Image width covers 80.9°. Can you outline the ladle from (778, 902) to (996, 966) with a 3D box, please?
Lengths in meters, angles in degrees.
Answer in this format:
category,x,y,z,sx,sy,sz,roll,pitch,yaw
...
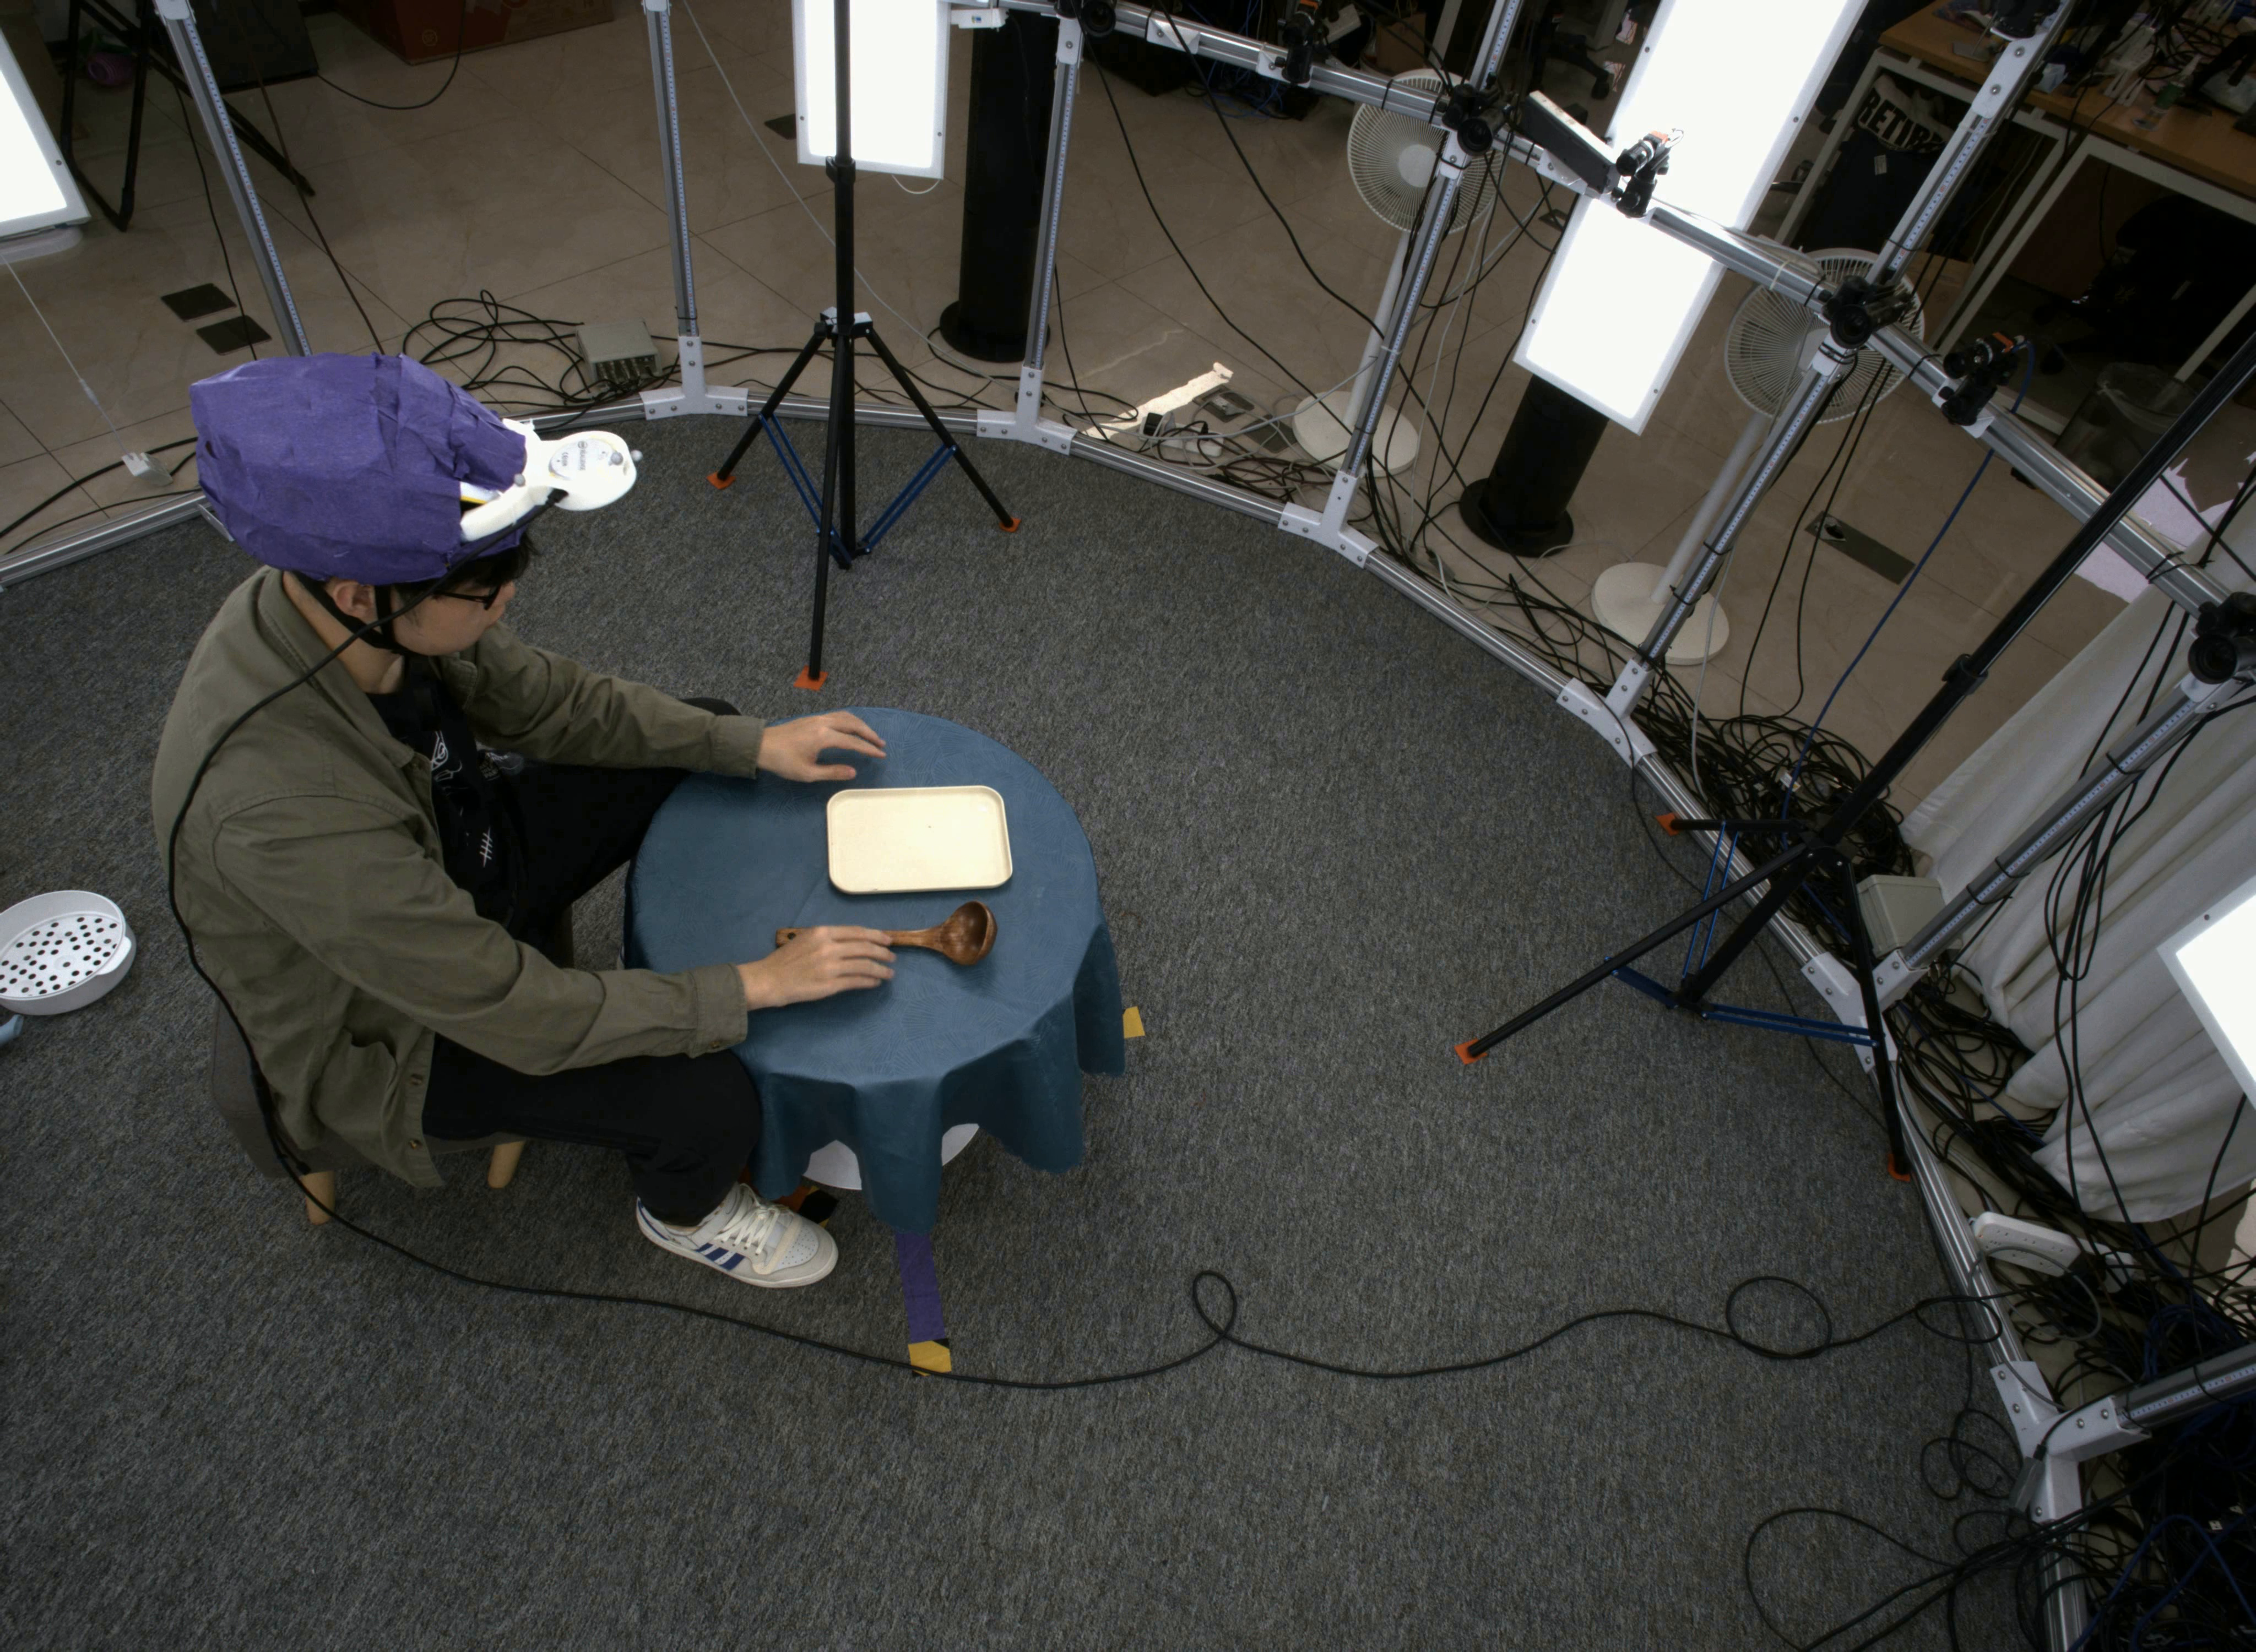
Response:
category,x,y,z,sx,sy,sz,roll,pitch,yaw
ladle,-0.302,0.130,1.626,0.274,0.077,0.081,4,64,-10

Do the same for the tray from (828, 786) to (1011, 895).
category,x,y,z,sx,sy,sz,roll,pitch,yaw
tray,-0.281,0.018,1.750,0.240,0.018,0.167,-2,54,-15
